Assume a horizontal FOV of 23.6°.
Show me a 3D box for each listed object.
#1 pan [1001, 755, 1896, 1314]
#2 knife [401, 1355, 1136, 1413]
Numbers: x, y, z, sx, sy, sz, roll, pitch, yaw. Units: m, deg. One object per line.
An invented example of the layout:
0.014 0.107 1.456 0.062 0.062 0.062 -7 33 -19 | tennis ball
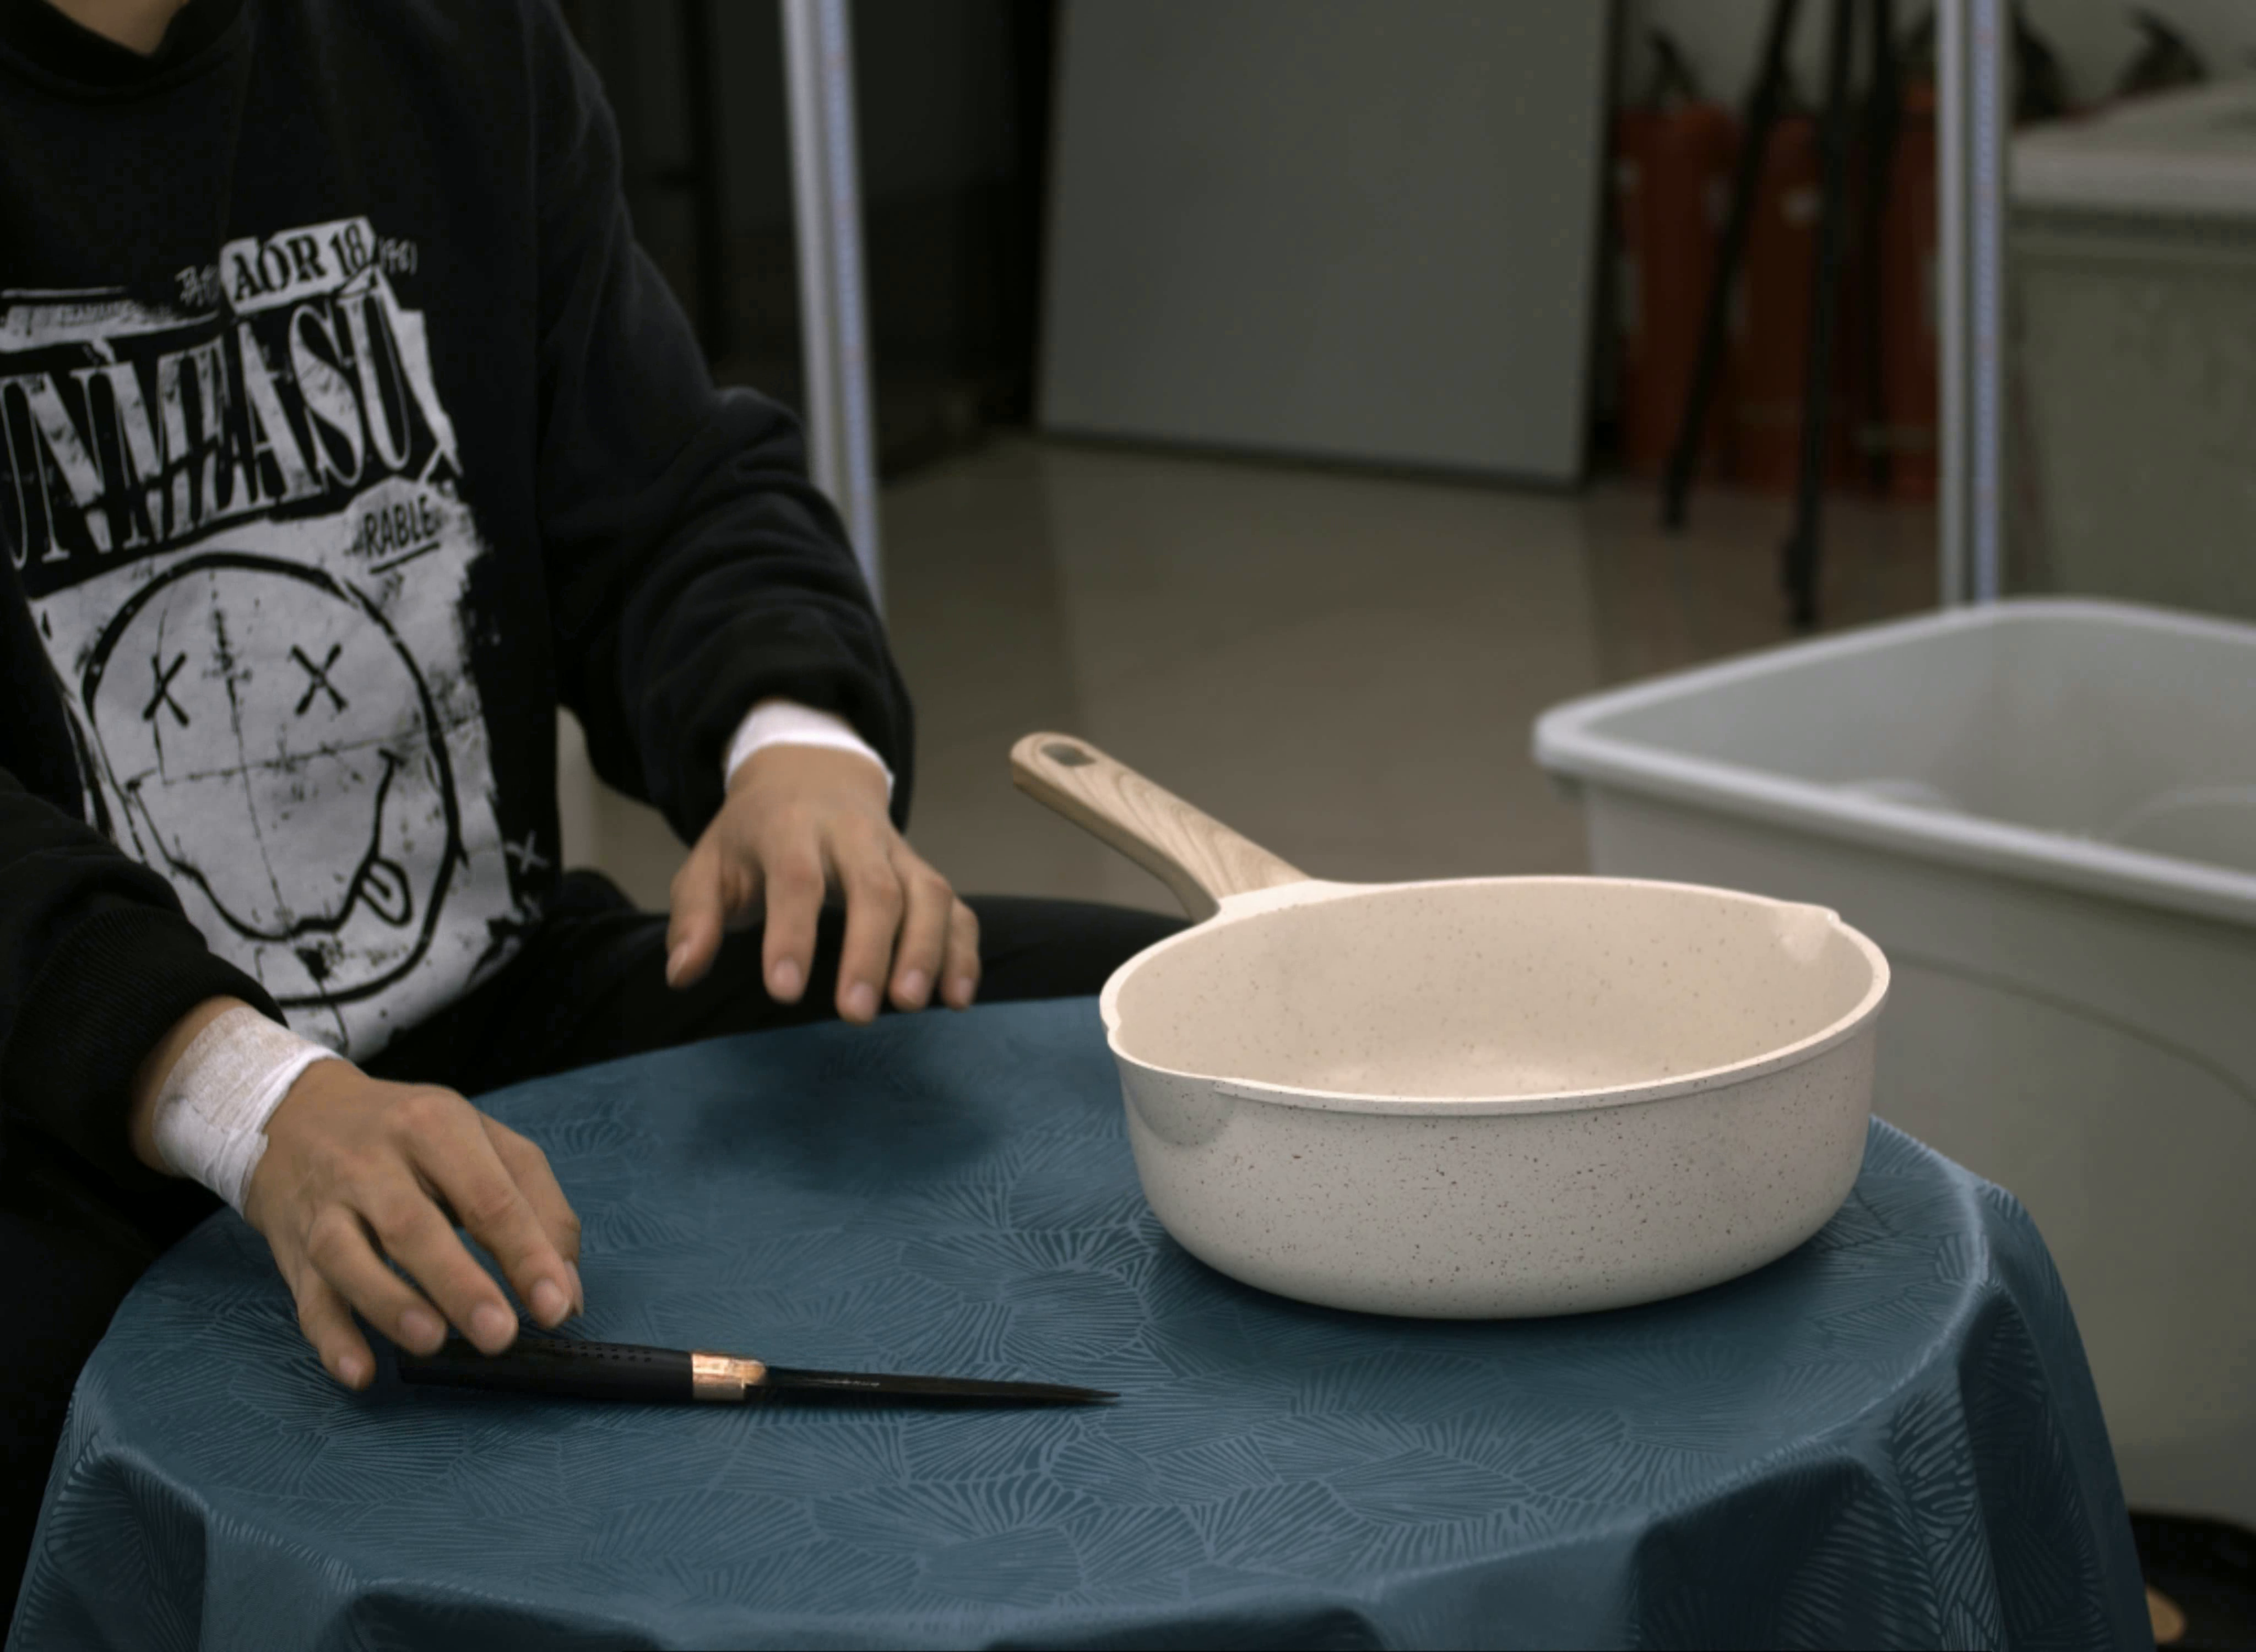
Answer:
0.075 0.061 1.786 0.258 0.103 0.439 -13 16 -26 | pan
-0.108 0.166 1.607 0.224 0.017 0.026 -1 -2 13 | knife
